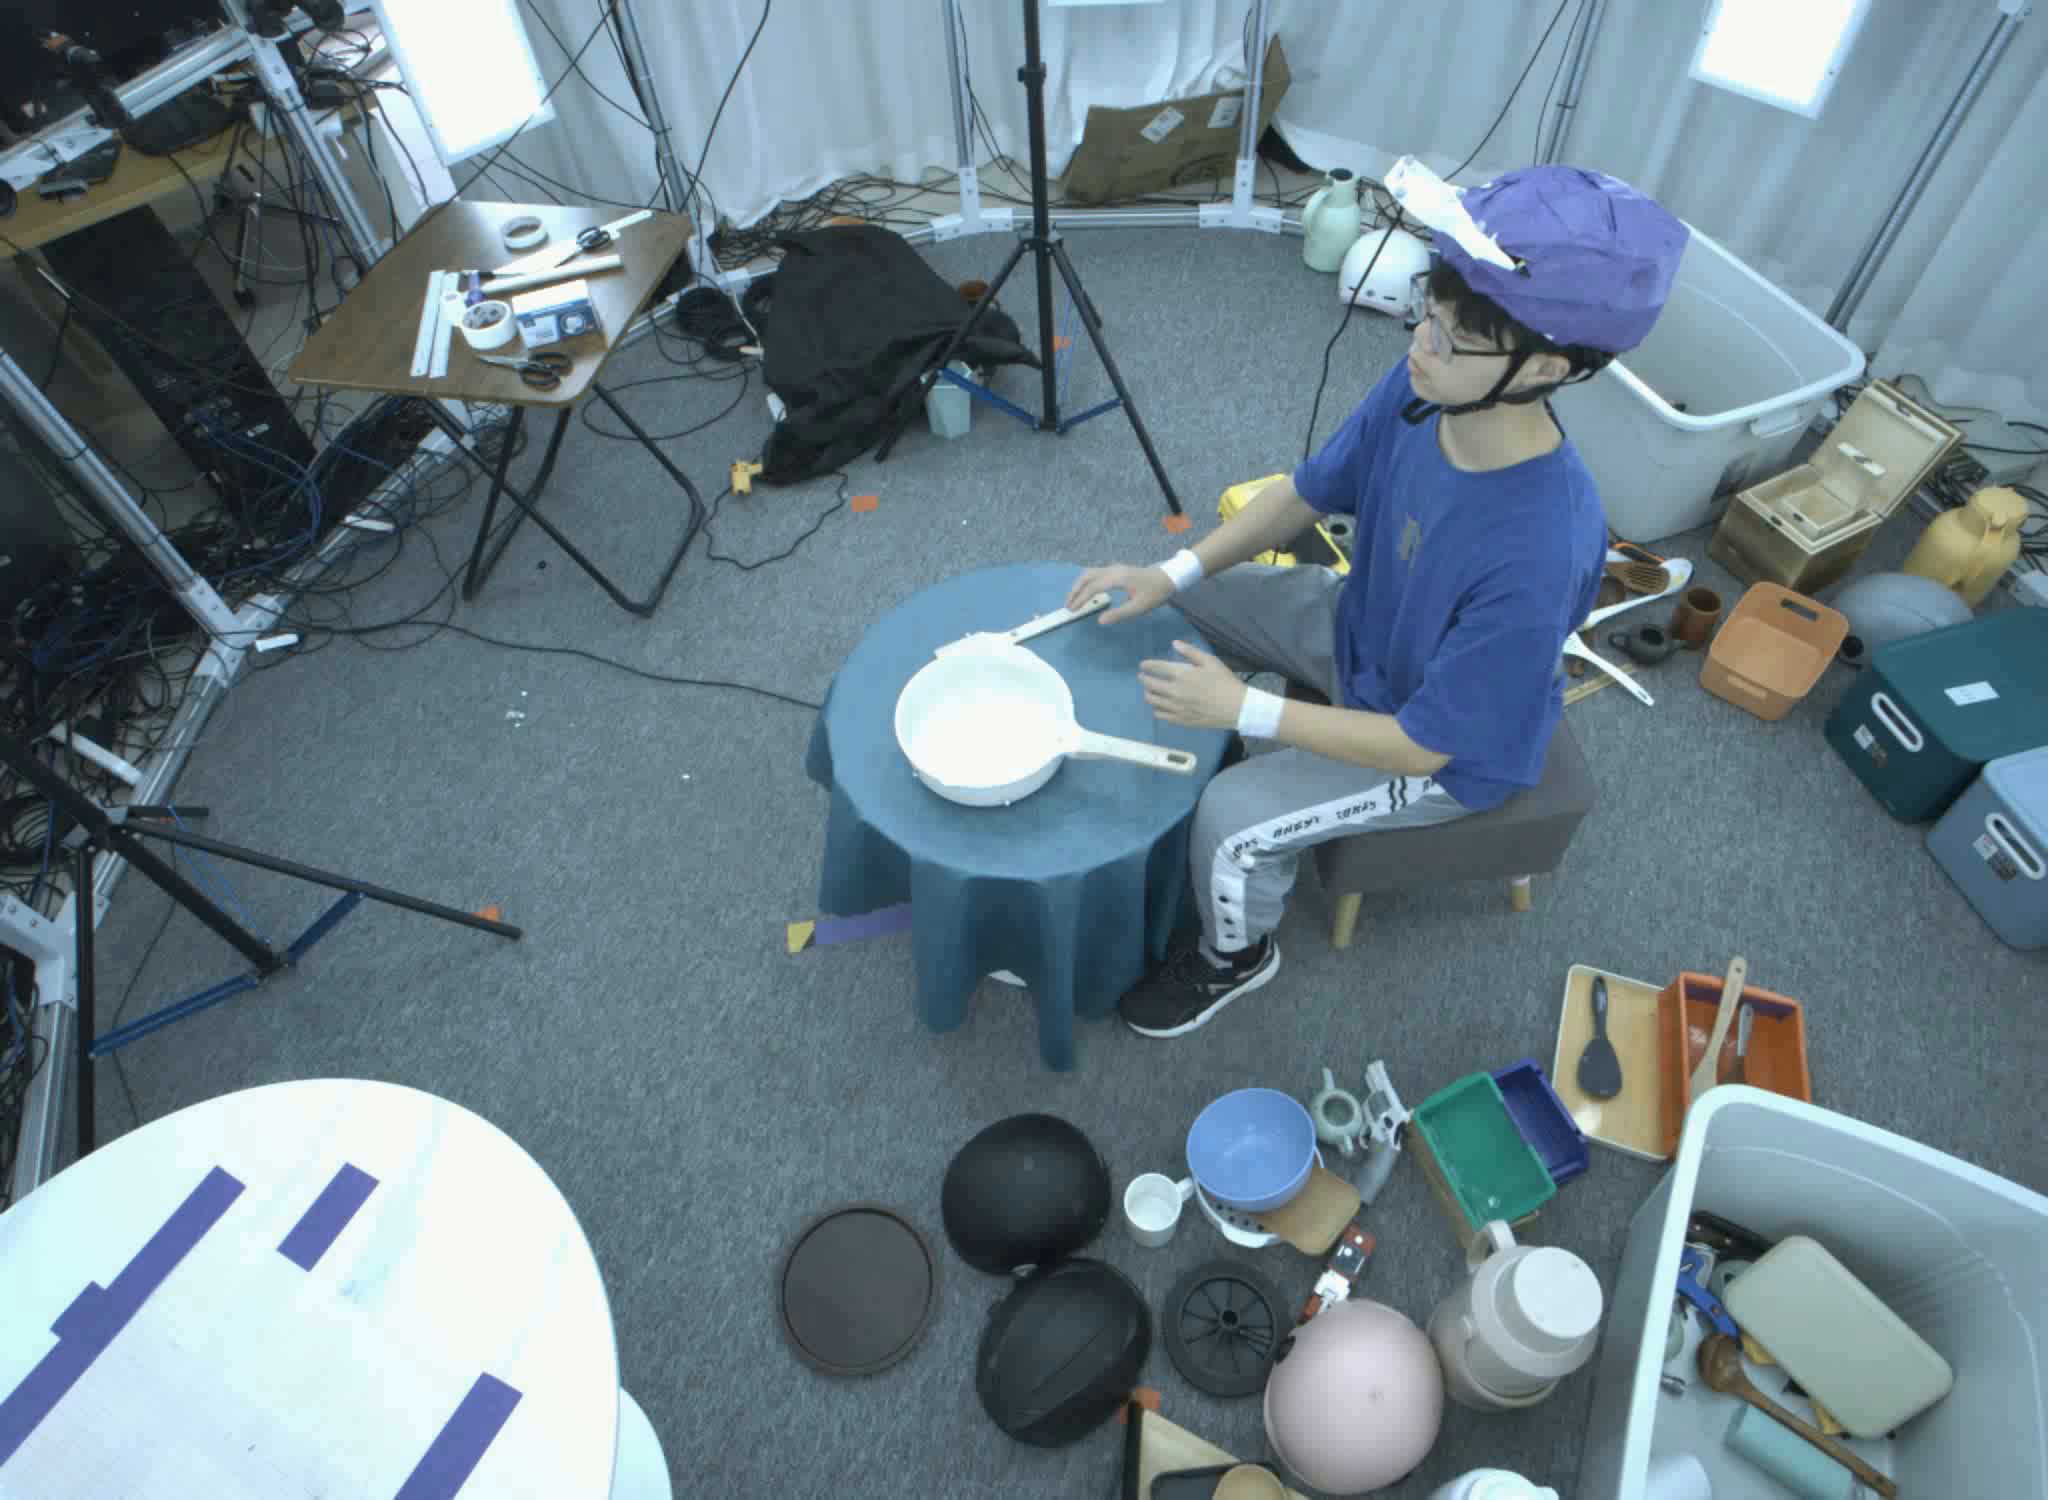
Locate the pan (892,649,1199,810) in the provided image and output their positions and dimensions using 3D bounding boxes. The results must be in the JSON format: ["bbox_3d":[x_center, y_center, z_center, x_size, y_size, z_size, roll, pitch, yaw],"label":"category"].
[{"bbox_3d":[0.029,-0.005,1.719,0.431,0.103,0.263,15,55,12],"label":"pan"}]

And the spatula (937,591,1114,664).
[{"bbox_3d":[0.008,-0.186,1.905,0.295,0.011,0.071,-25,56,-14],"label":"spatula"}]
